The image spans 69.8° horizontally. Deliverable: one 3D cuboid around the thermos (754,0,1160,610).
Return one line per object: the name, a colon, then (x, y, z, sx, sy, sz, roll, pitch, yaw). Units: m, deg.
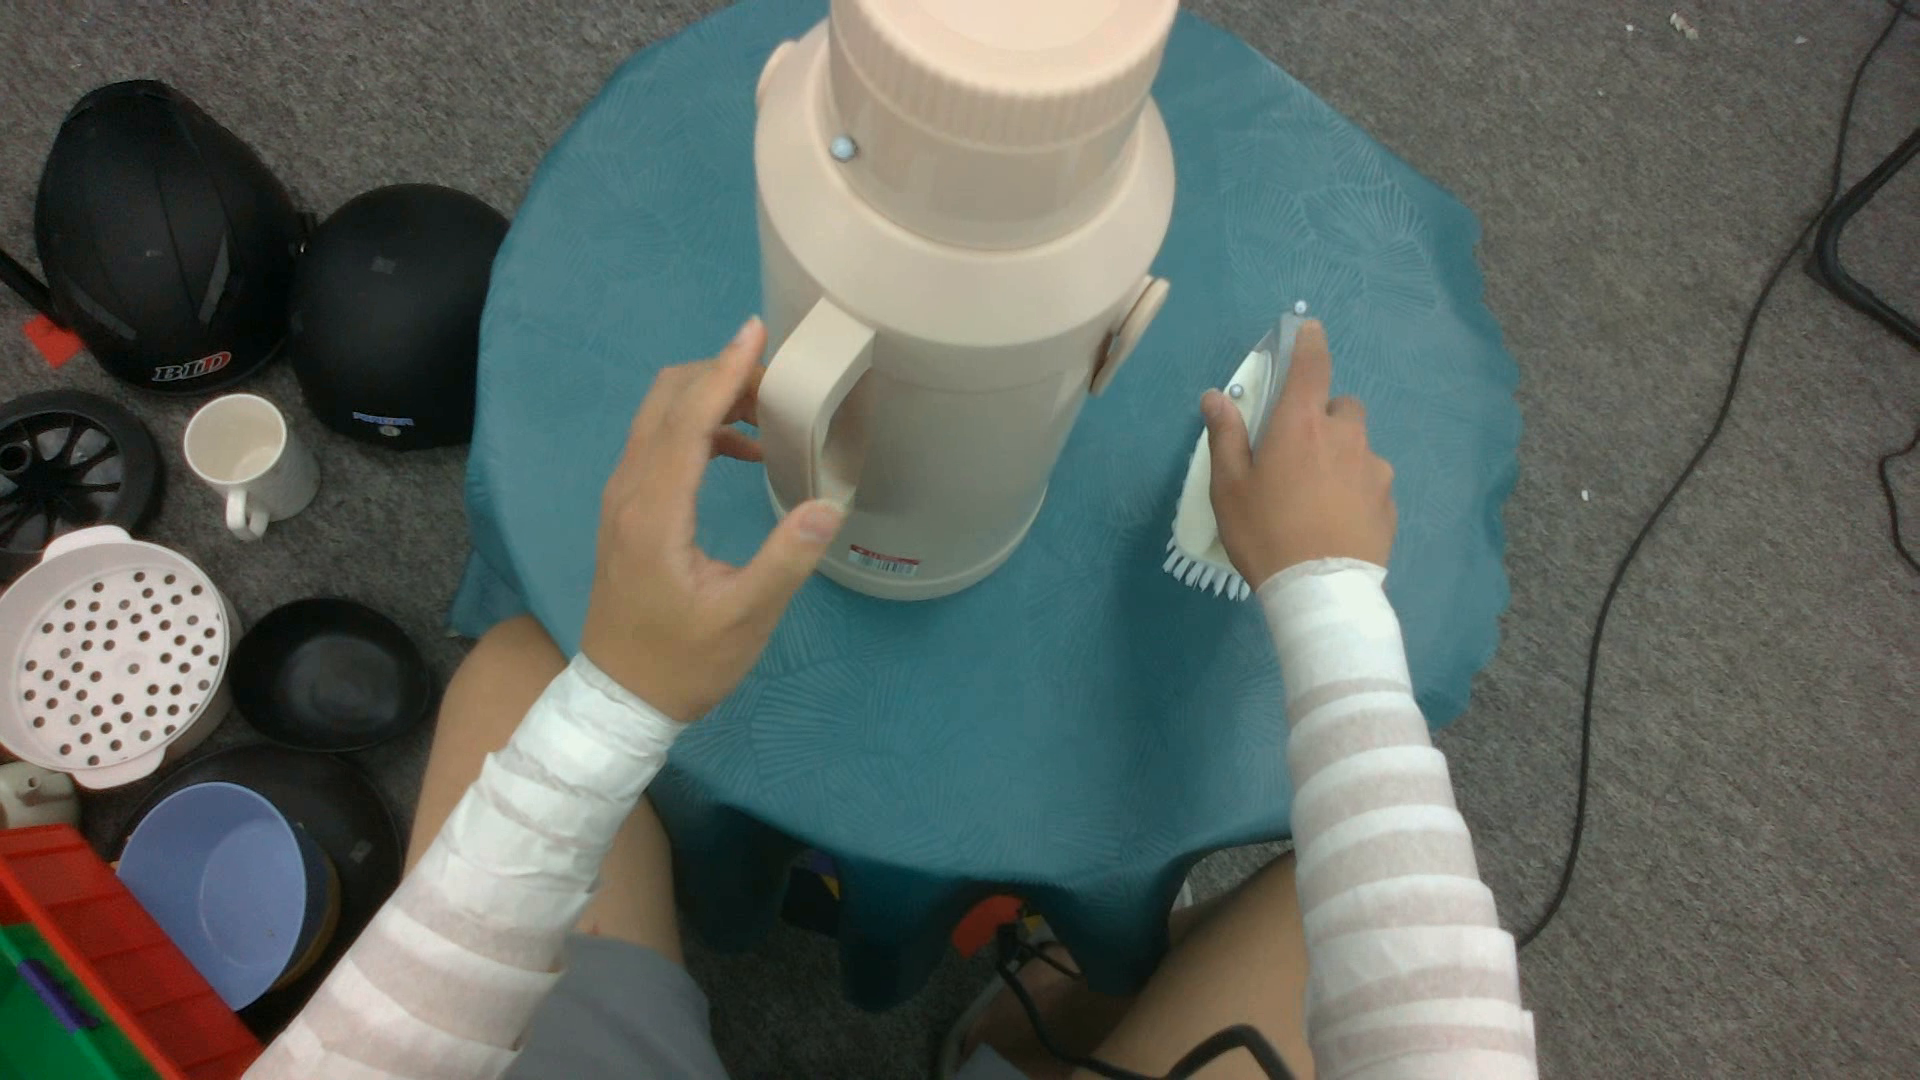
thermos: (-0.019, -0.091, 0.611, 0.175, 0.405, 0.208, 32, 69, 5)

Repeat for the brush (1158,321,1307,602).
brush: (0.167, -0.060, 0.783, 0.061, 0.094, 0.176, 21, 66, -1)
